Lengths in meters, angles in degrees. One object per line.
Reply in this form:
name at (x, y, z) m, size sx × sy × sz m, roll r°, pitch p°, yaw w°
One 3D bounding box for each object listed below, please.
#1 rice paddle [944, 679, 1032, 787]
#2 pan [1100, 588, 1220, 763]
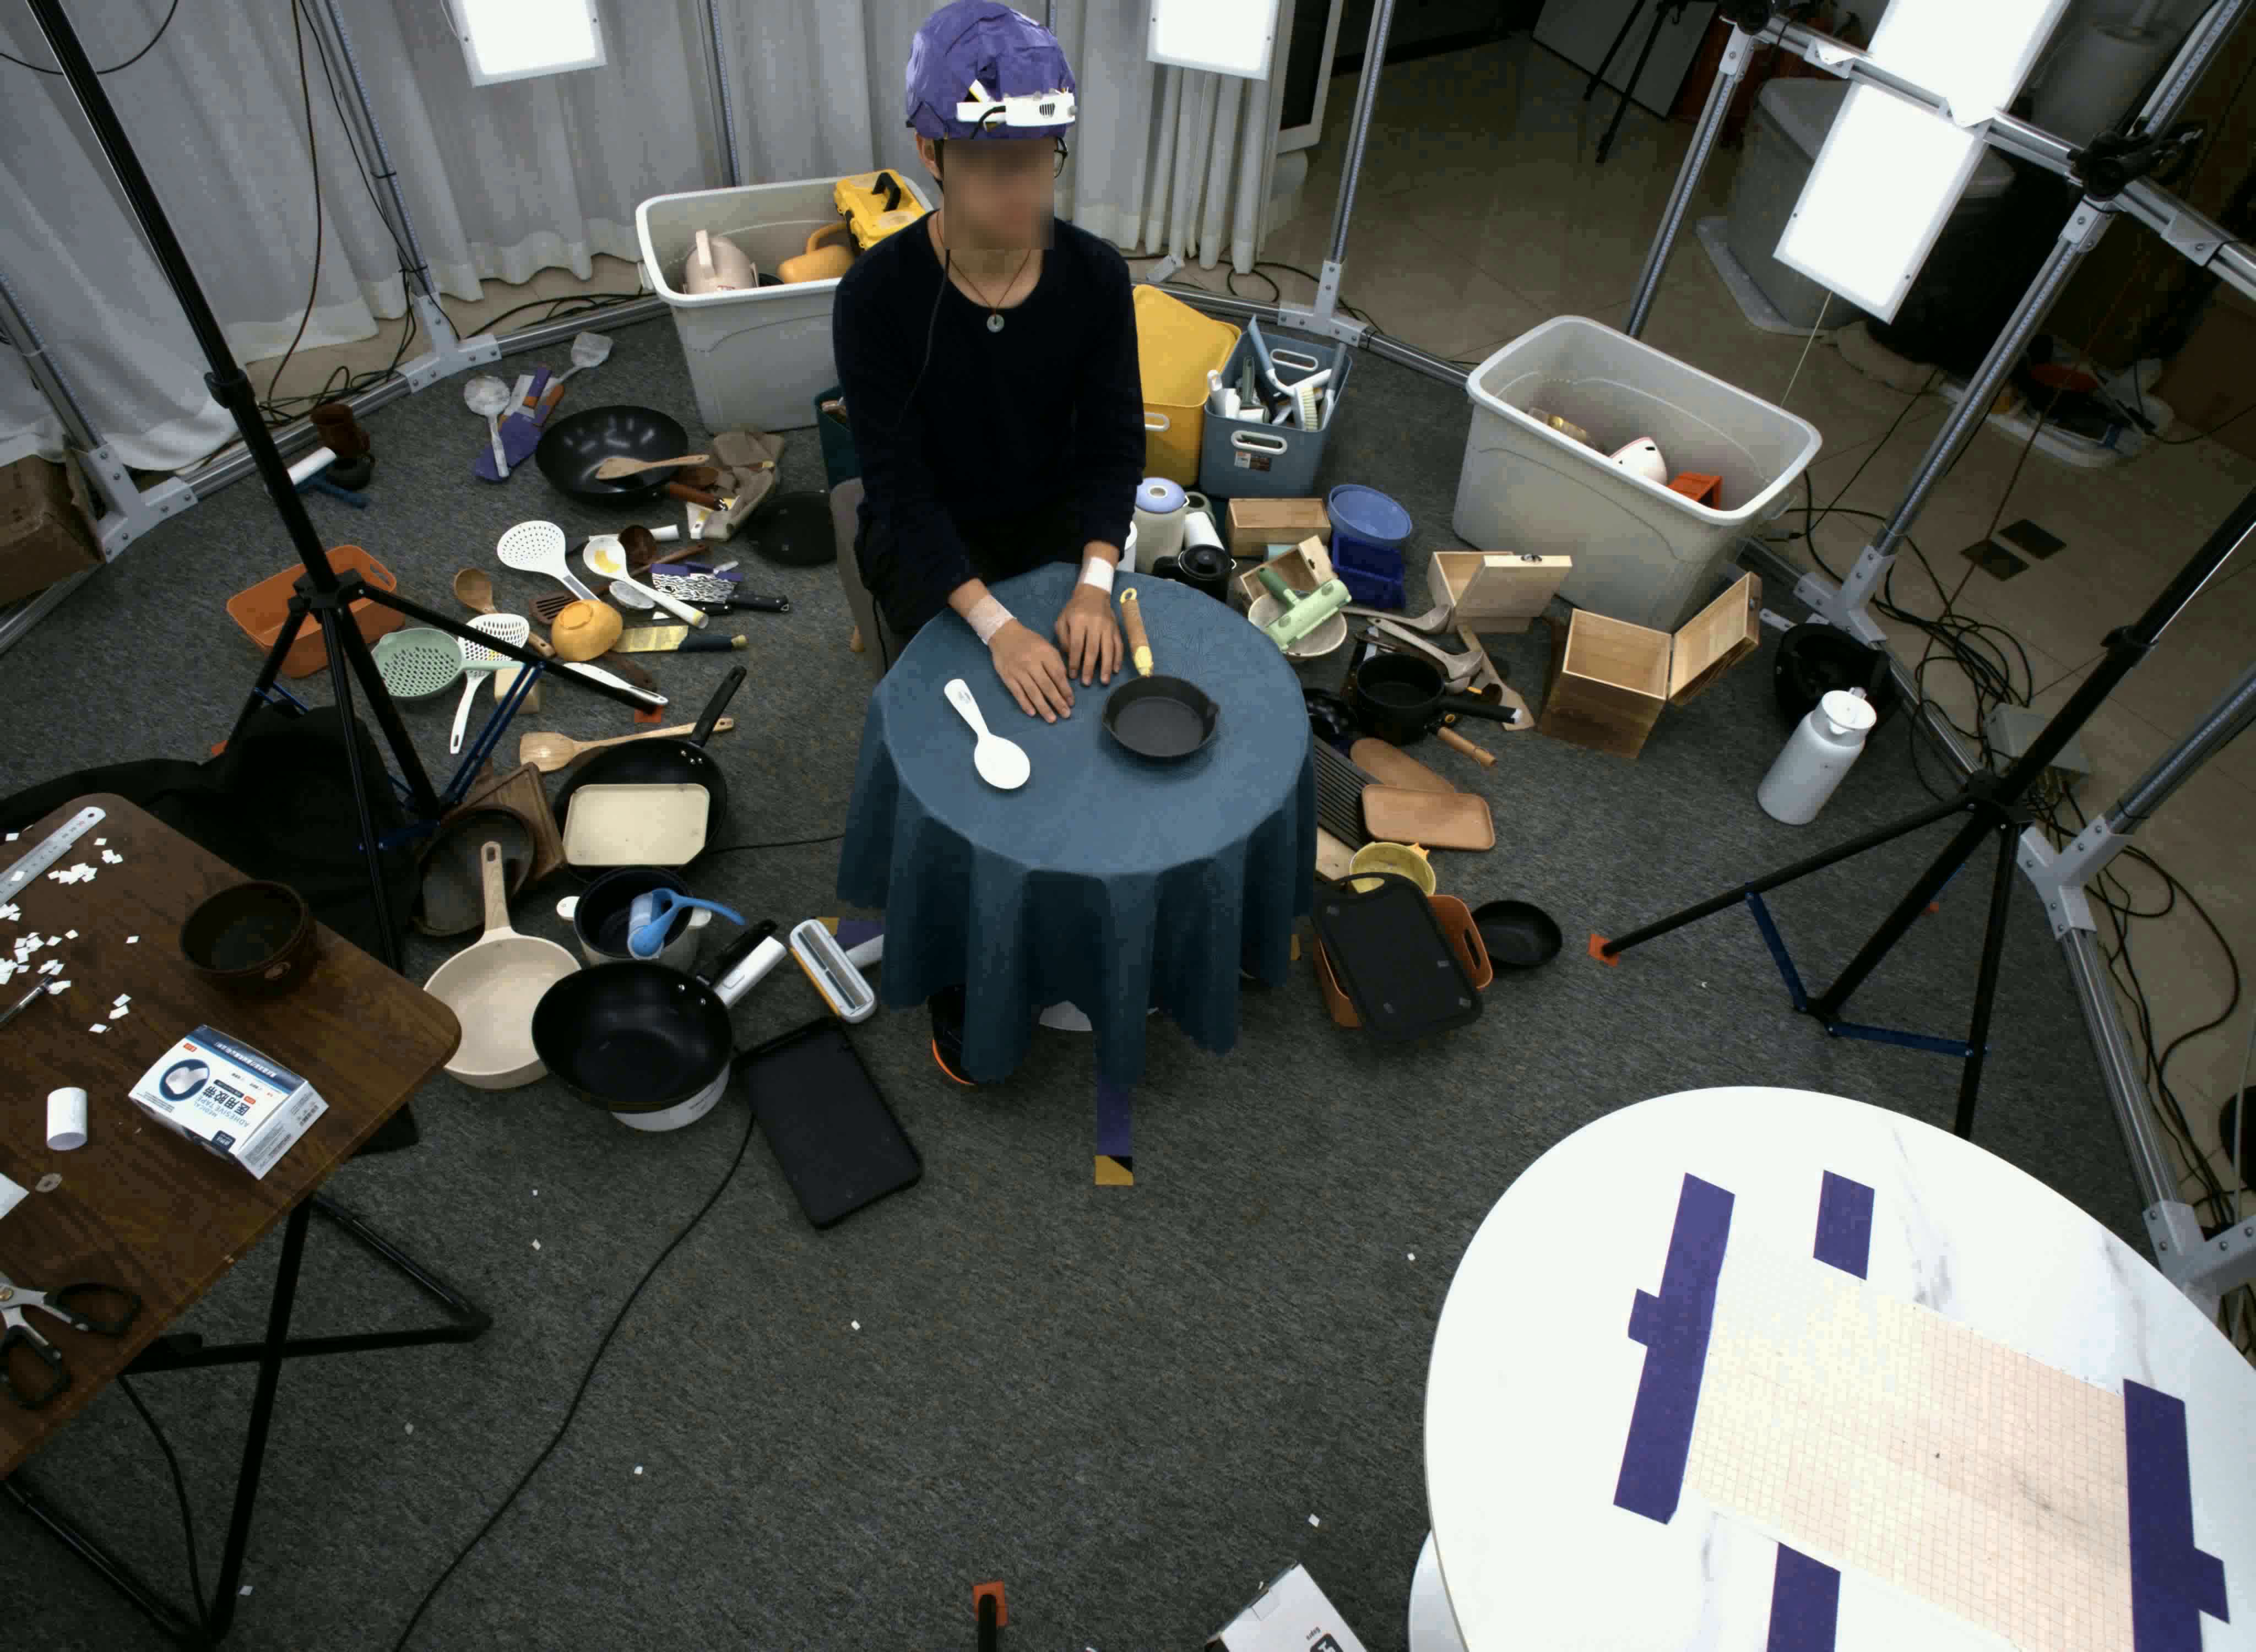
rice paddle at (-0.194, -0.126, 1.746) m, size 0.069 × 0.029 × 0.210 m, roll -21°, pitch 53°, yaw -19°
pan at (0.030, -0.215, 1.825) m, size 0.169 × 0.048 × 0.332 m, roll -5°, pitch 51°, yaw -8°
